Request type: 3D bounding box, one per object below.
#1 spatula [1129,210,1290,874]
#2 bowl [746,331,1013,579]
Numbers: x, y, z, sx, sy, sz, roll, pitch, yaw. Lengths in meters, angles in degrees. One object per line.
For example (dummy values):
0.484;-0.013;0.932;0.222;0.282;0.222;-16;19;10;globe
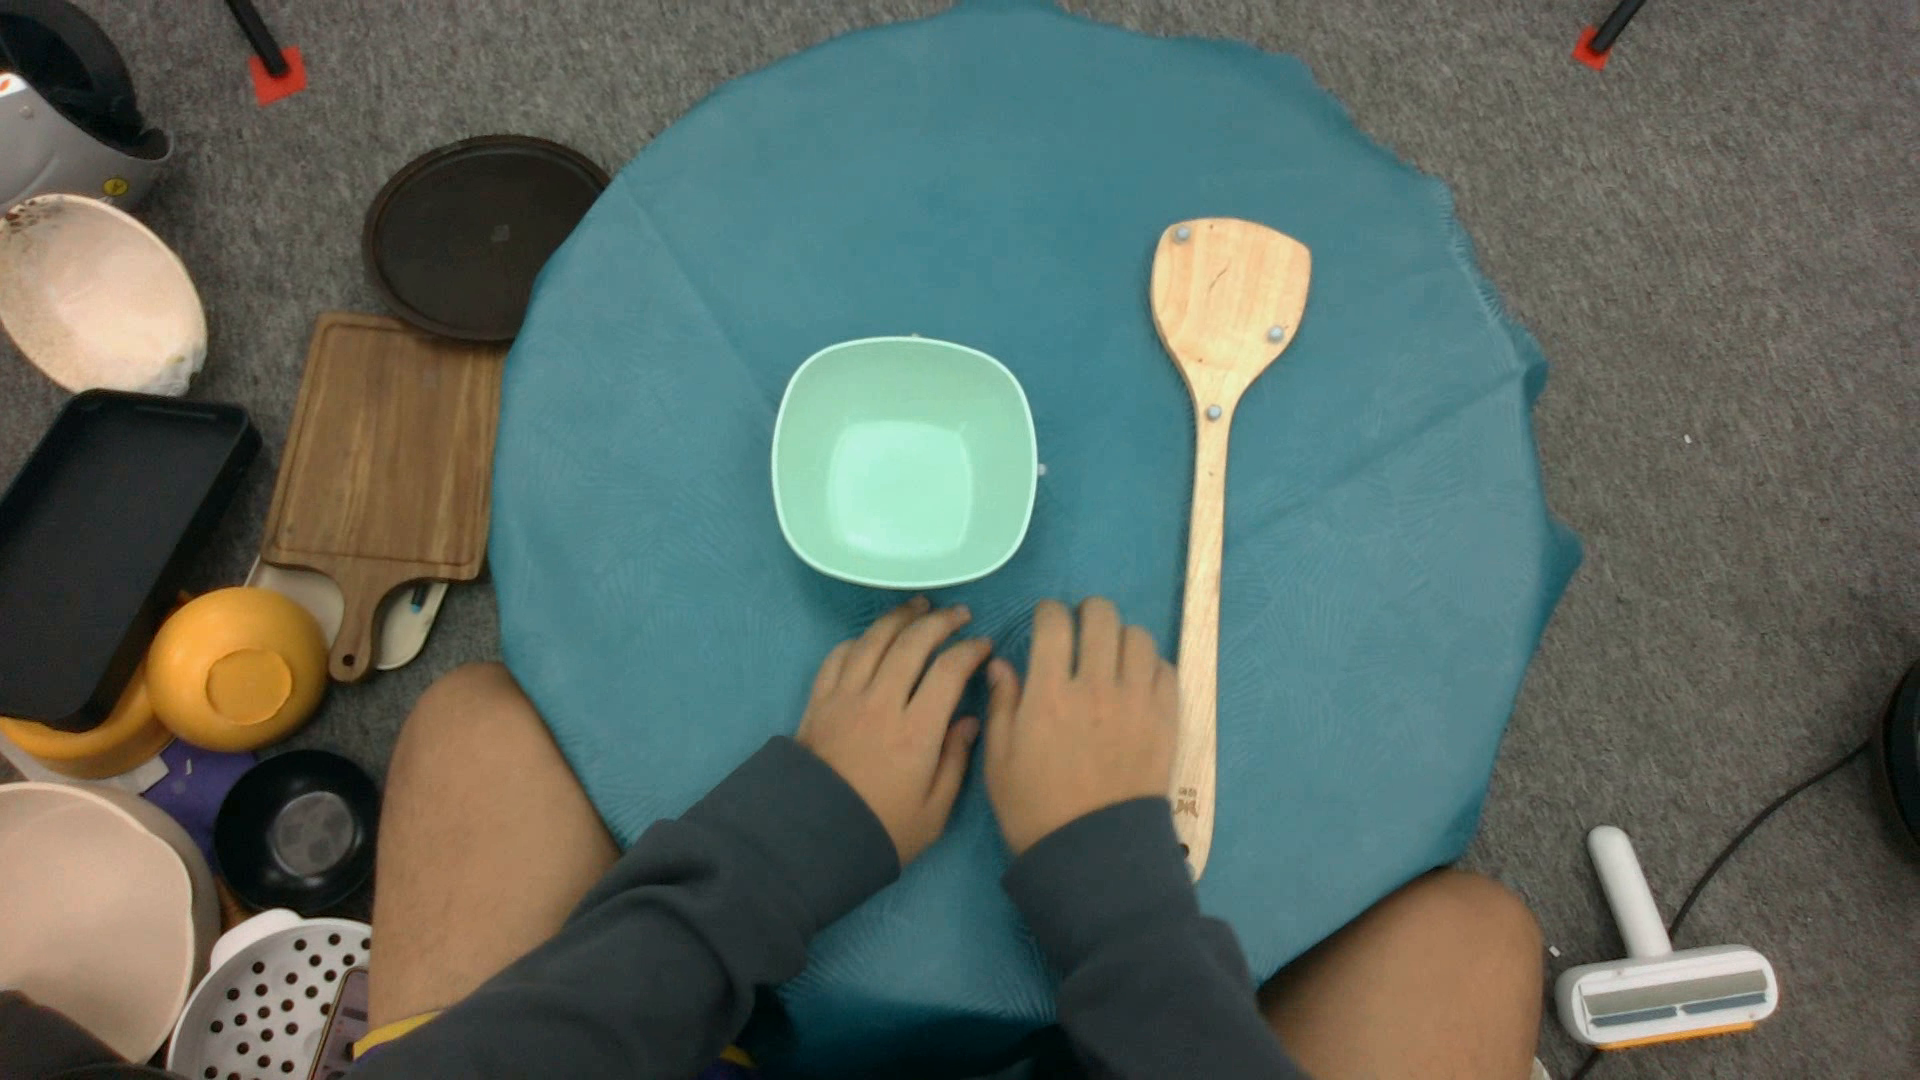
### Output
0.132;-0.012;0.773;0.096;0.018;0.392;7;71;-3;spatula
-0.044;-0.038;0.741;0.151;0.058;0.152;2;71;-6;bowl
